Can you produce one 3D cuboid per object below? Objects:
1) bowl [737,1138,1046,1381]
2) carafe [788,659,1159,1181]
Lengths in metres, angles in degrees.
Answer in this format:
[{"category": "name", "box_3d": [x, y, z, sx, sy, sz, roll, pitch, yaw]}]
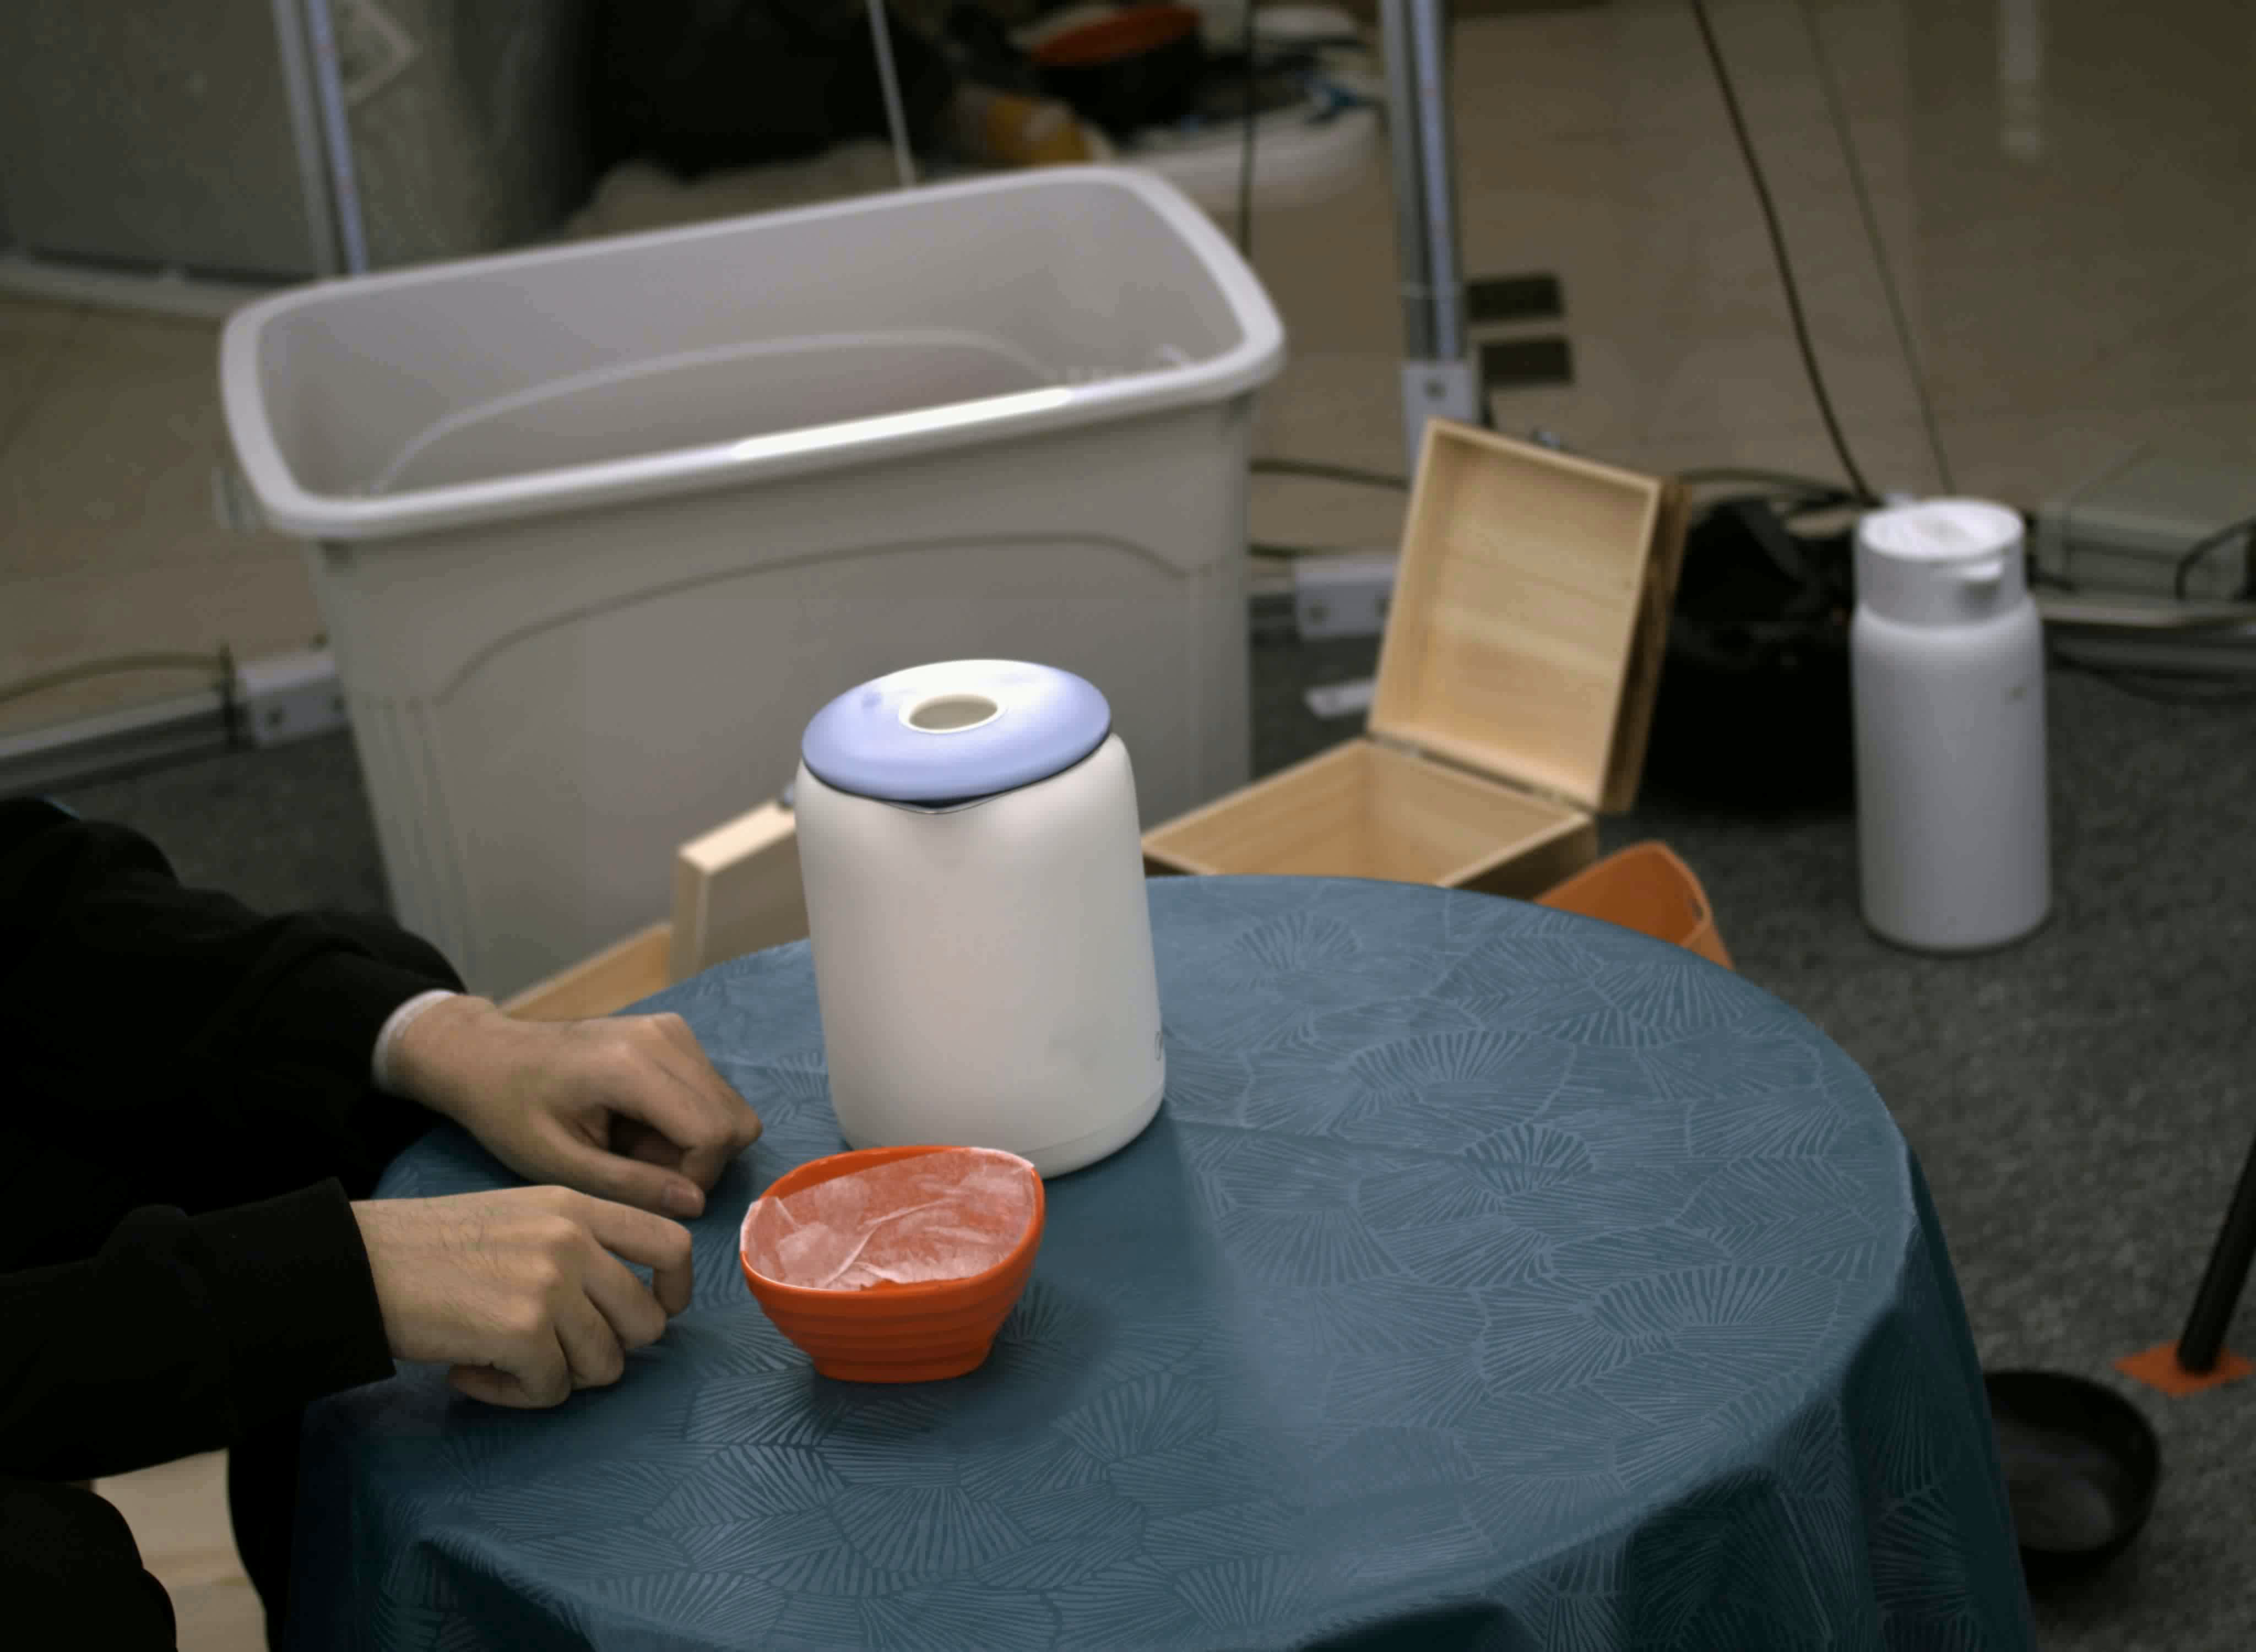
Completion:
[{"category": "bowl", "box_3d": [-0.084, 0.161, 2.052, 0.119, 0.052, 0.117, -3, 28, 2]}, {"category": "carafe", "box_3d": [-0.058, 0.027, 2.193, 0.132, 0.185, 0.188, -3, 23, 3]}]
